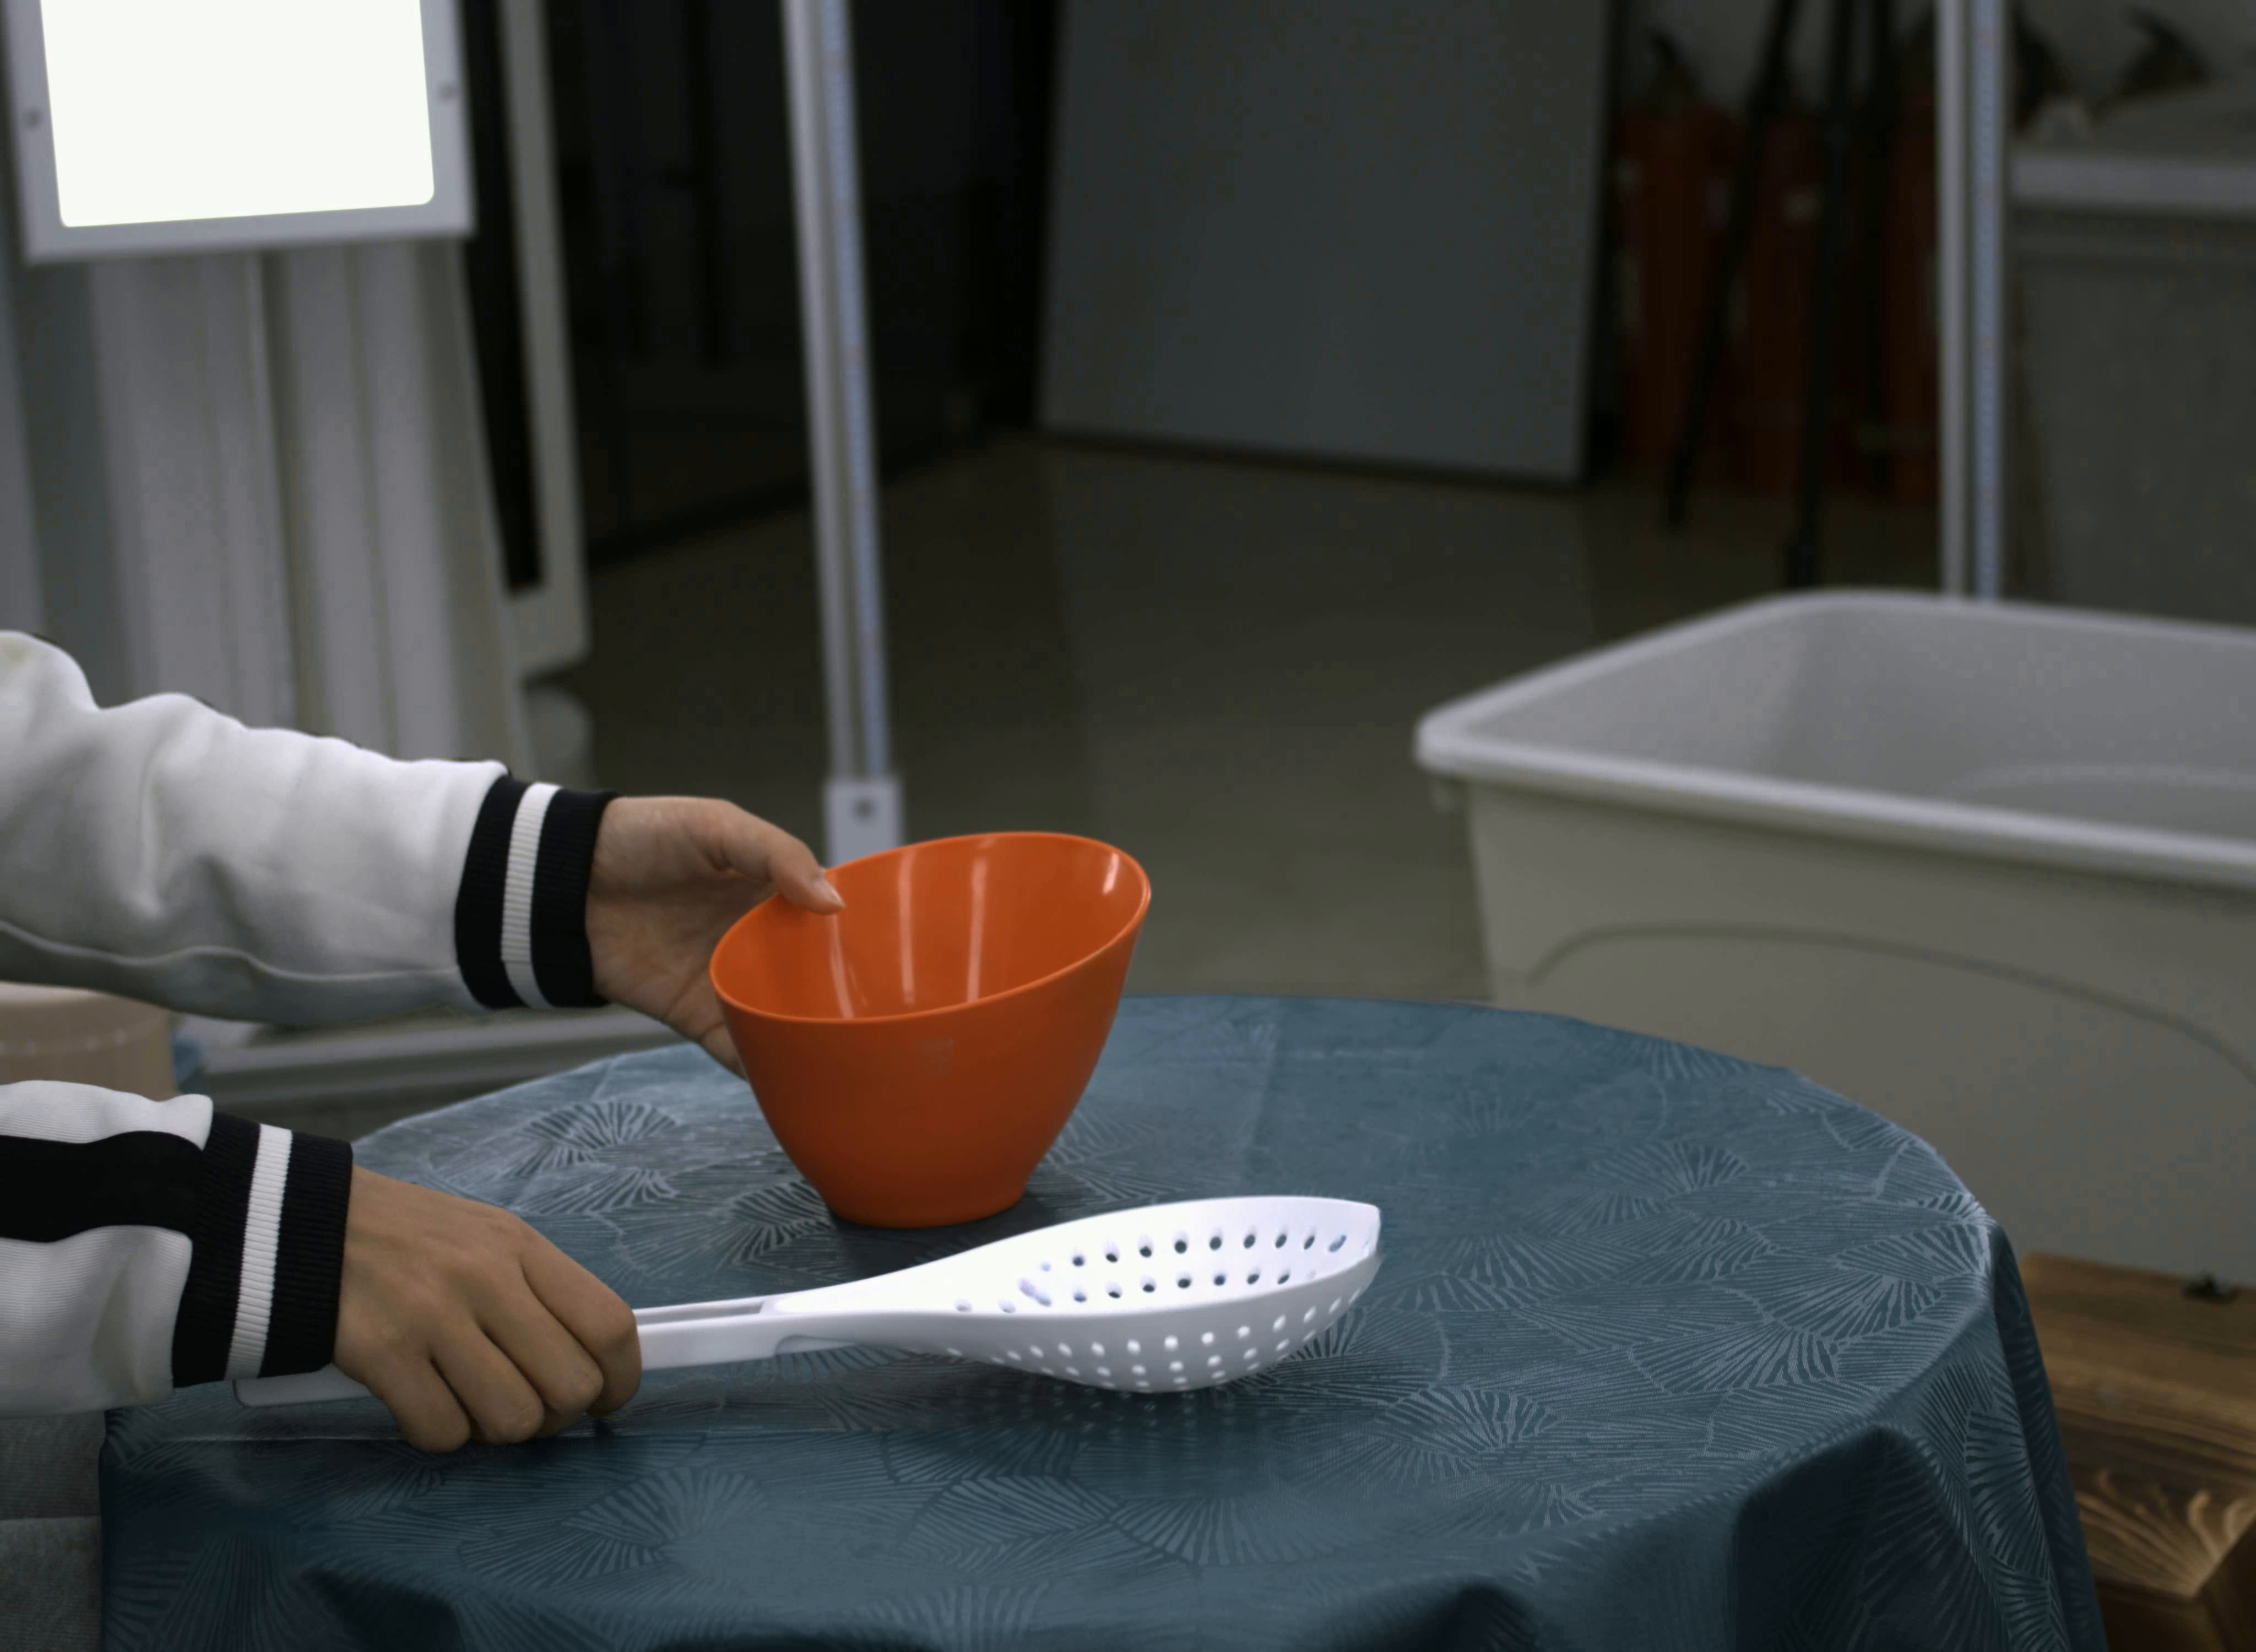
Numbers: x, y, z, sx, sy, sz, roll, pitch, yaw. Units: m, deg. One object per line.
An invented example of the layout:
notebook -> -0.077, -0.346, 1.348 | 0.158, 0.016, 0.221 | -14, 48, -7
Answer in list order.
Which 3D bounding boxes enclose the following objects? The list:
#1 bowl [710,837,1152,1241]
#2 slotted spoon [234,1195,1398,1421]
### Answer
bowl -> -0.062, 0.073, 1.773 | 0.146, 0.106, 0.148 | -4, 15, 0
slotted spoon -> -0.092, 0.146, 1.591 | 0.346, 0.046, 0.136 | -2, 9, 5
